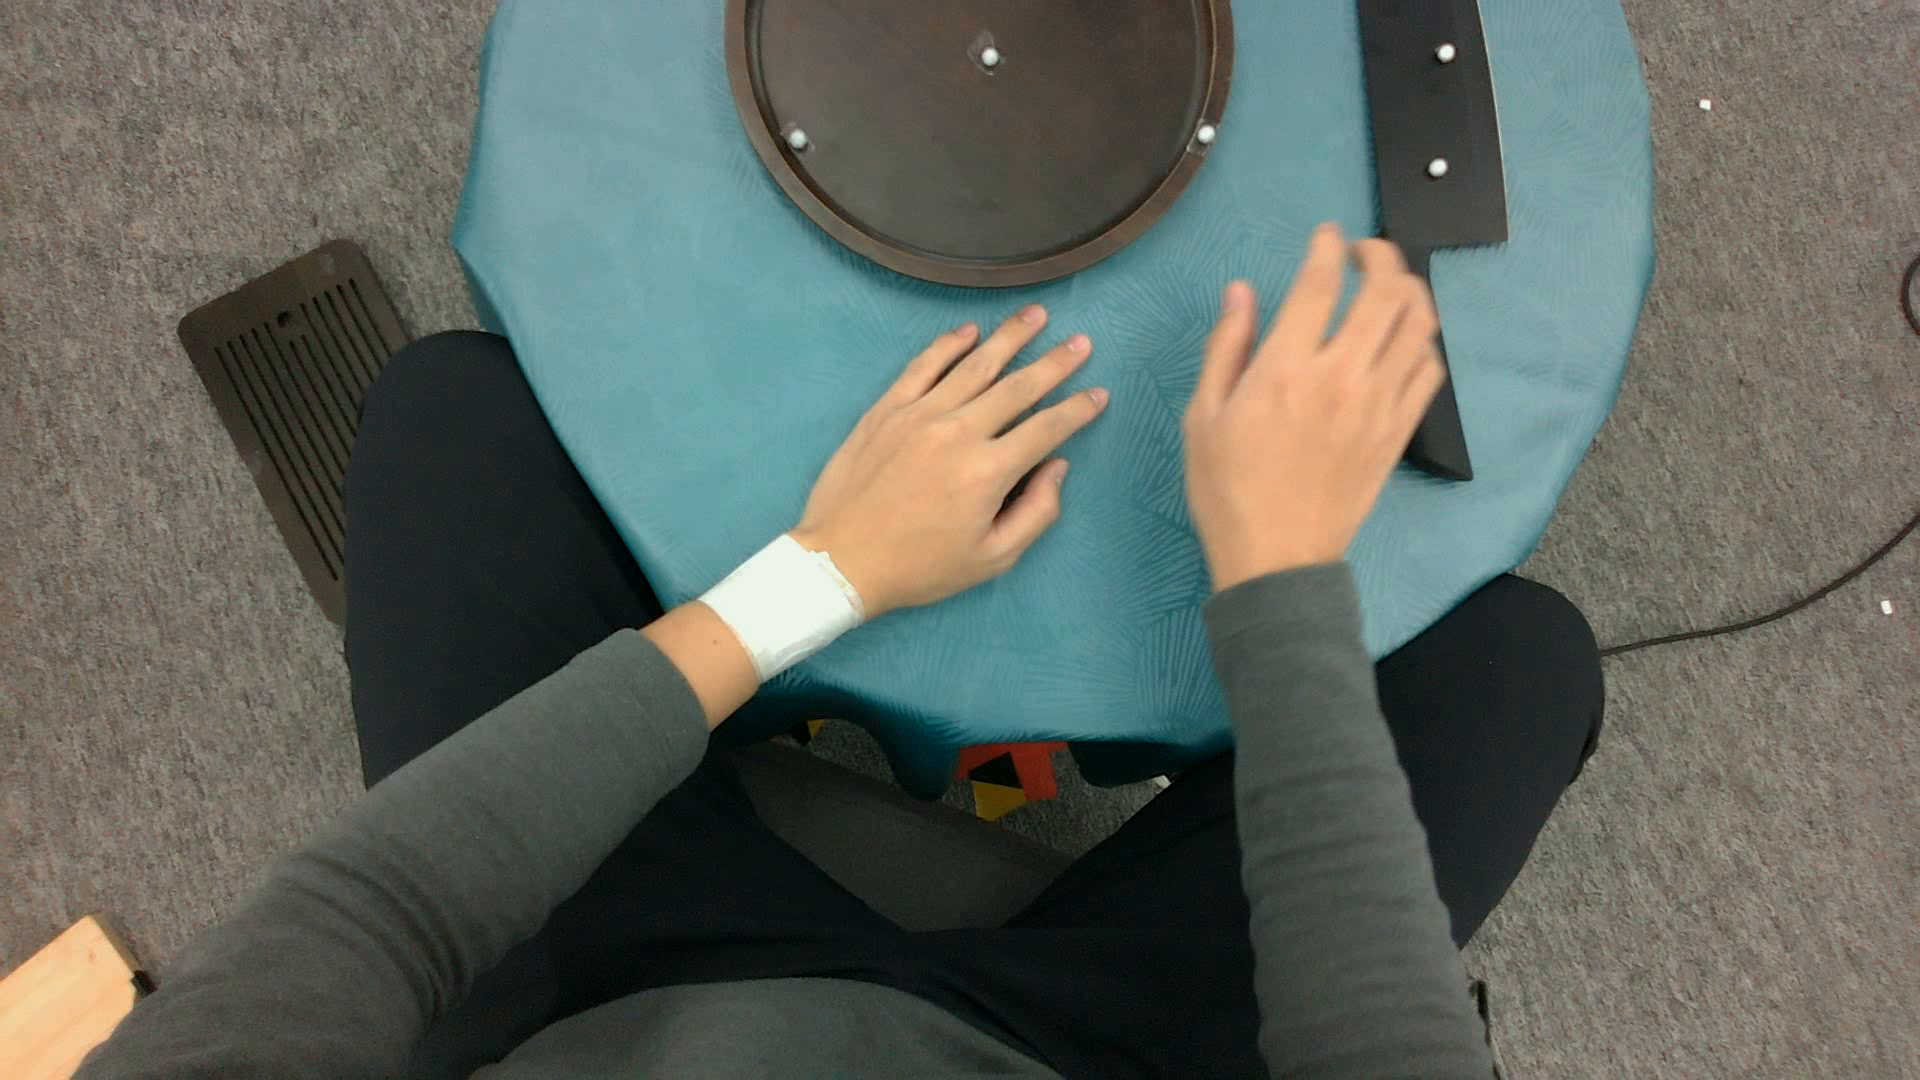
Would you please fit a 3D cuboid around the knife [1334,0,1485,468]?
[{"bbox_3d":[0.232,-0.187,0.708,0.081,0.021,0.302,0,82,-5],"label":"knife"}]

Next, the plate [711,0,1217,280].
[{"bbox_3d":[0.003,-0.253,0.694,0.255,0.029,0.255,1,84,-5],"label":"plate"}]
